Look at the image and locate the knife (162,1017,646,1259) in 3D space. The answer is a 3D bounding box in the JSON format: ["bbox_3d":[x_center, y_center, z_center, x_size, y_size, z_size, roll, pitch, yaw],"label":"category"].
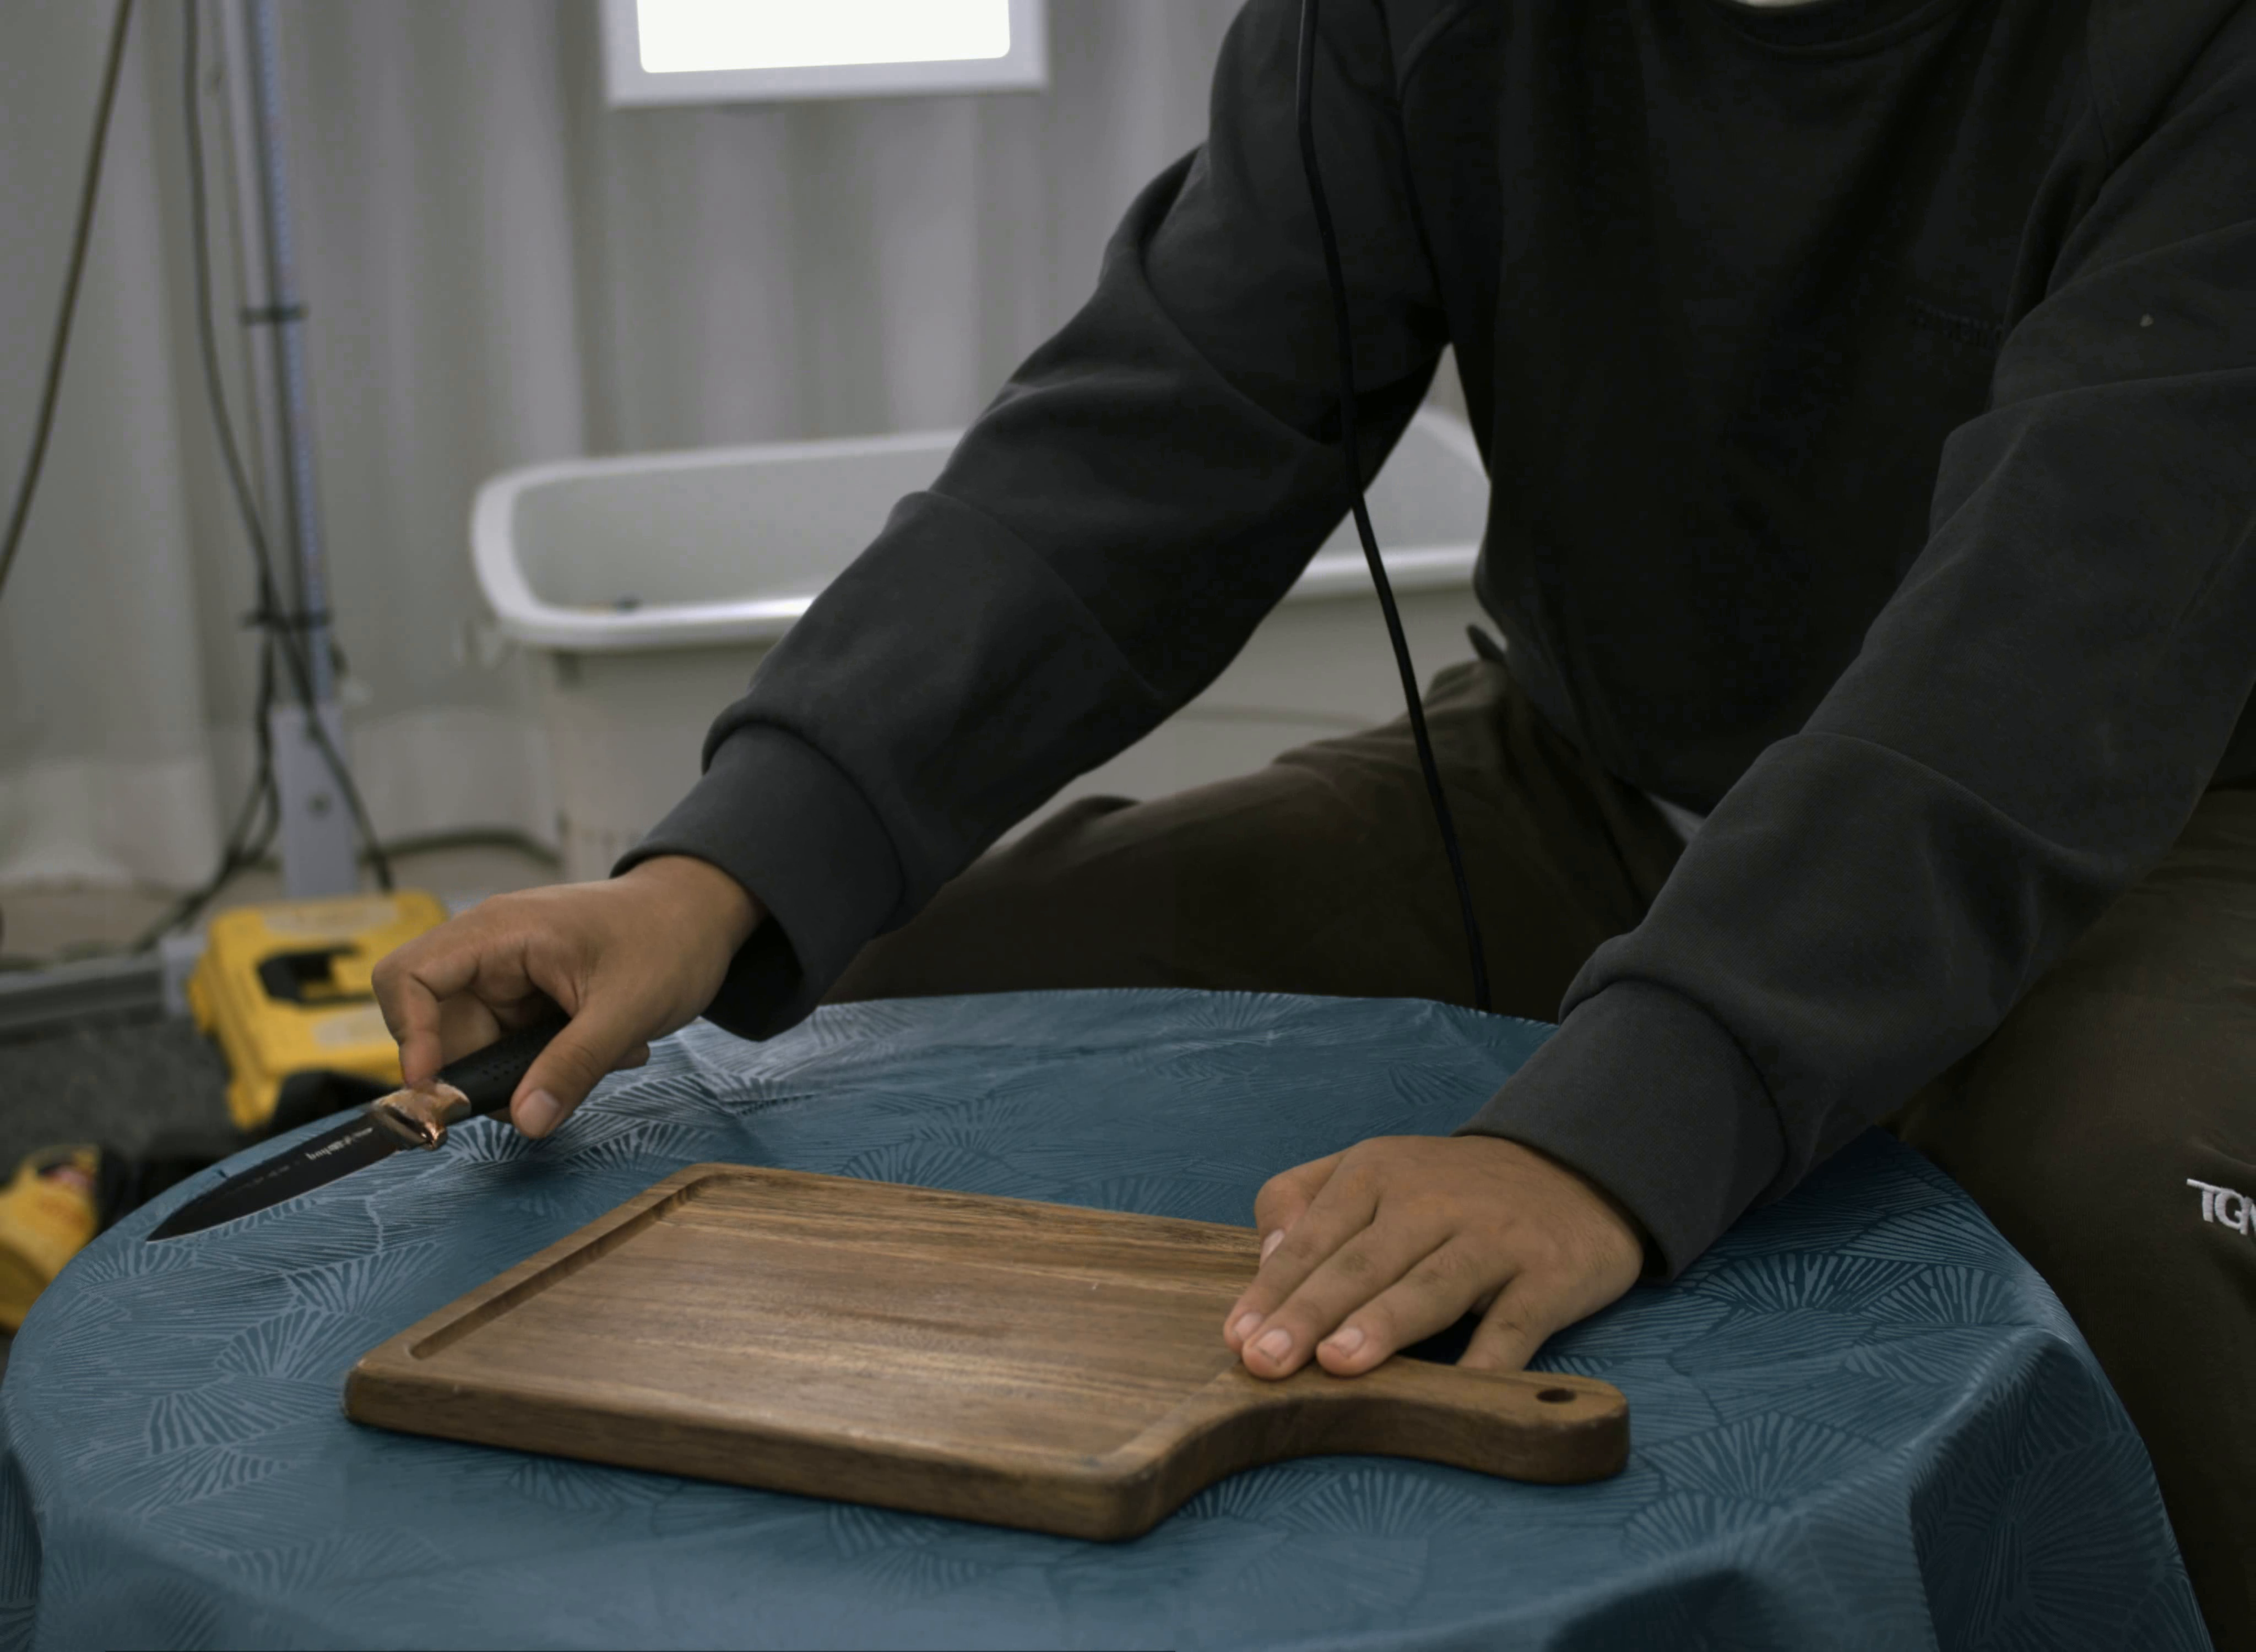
[{"bbox_3d":[-0.226,0.097,1.717,0.026,0.017,0.225,29,30,26],"label":"knife"}]

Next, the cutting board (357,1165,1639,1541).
[{"bbox_3d":[-0.022,0.151,1.546,0.353,0.023,0.201,5,17,26],"label":"cutting board"}]
